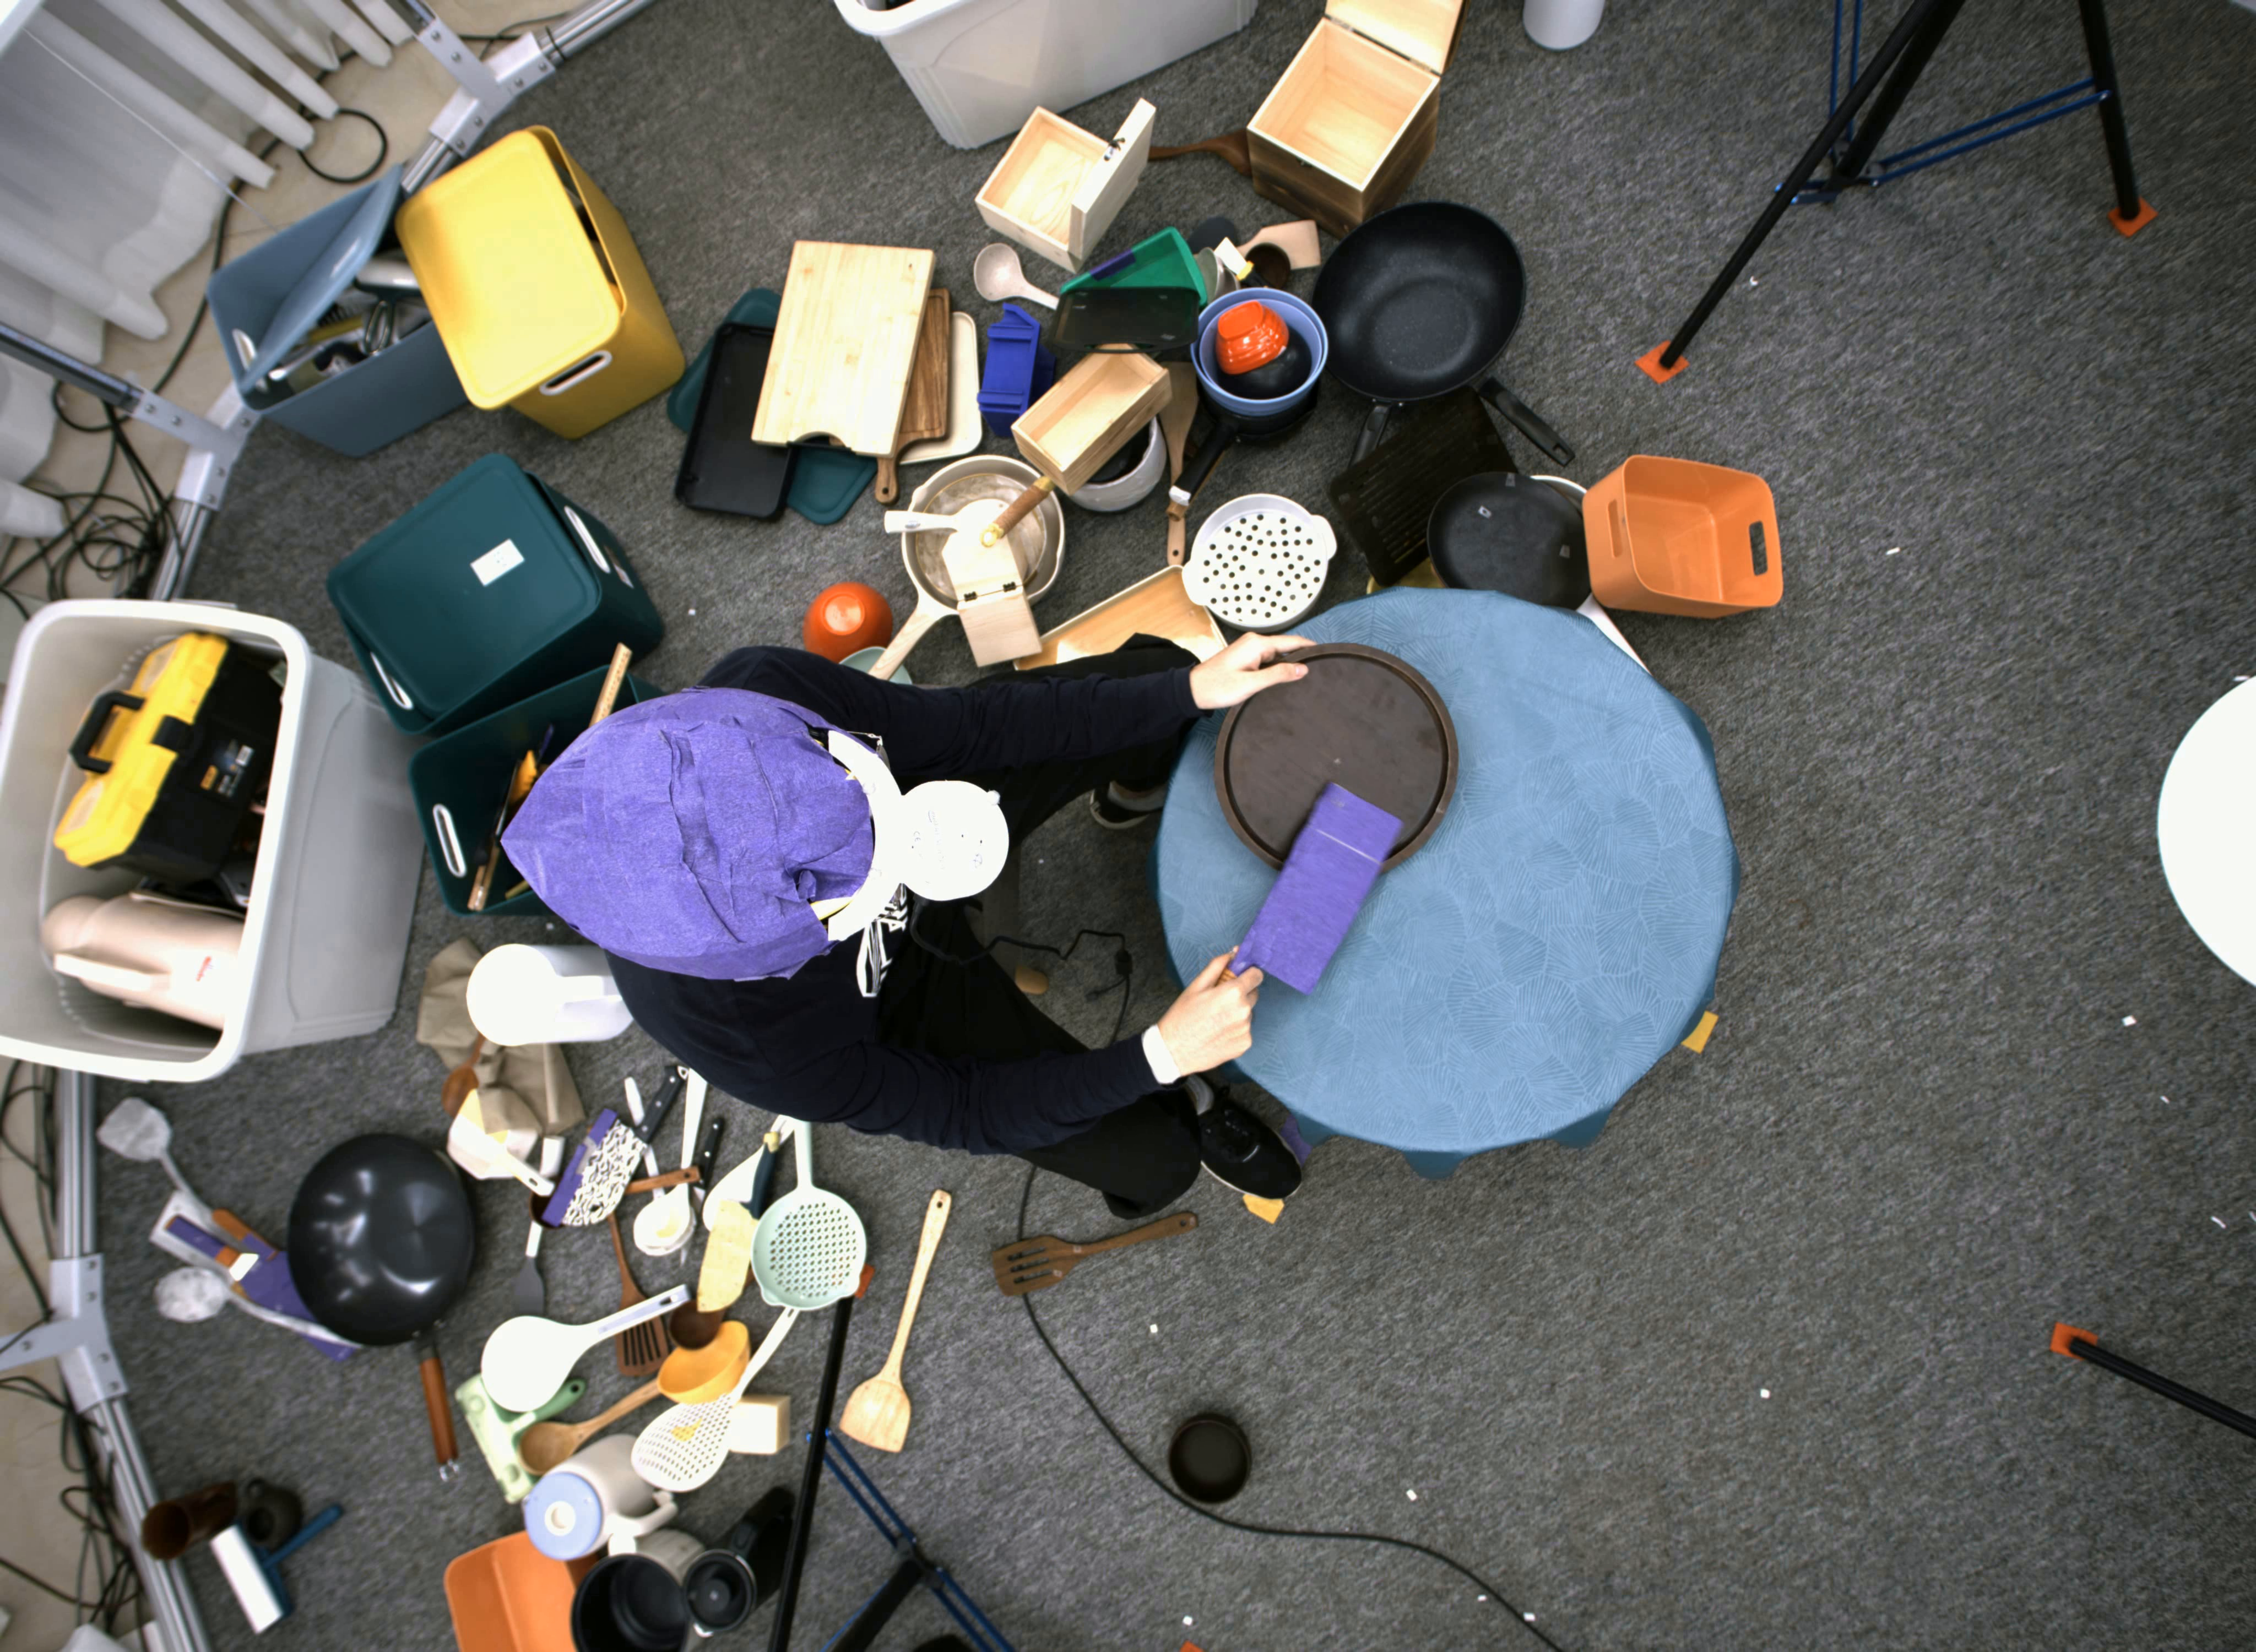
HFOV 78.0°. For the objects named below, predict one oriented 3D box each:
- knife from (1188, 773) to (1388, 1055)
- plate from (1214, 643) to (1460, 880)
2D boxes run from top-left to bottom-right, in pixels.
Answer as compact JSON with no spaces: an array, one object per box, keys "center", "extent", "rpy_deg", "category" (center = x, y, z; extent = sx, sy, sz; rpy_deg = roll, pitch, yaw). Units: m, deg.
[{"center":[0.171,0.104,1.427],"extent":[0.104,0.032,0.315],"rpy_deg":[27,92,-7],"category":"knife"},{"center":[0.215,-0.065,1.424],"extent":[0.255,0.028,0.258],"rpy_deg":[0,107,0],"category":"plate"}]
